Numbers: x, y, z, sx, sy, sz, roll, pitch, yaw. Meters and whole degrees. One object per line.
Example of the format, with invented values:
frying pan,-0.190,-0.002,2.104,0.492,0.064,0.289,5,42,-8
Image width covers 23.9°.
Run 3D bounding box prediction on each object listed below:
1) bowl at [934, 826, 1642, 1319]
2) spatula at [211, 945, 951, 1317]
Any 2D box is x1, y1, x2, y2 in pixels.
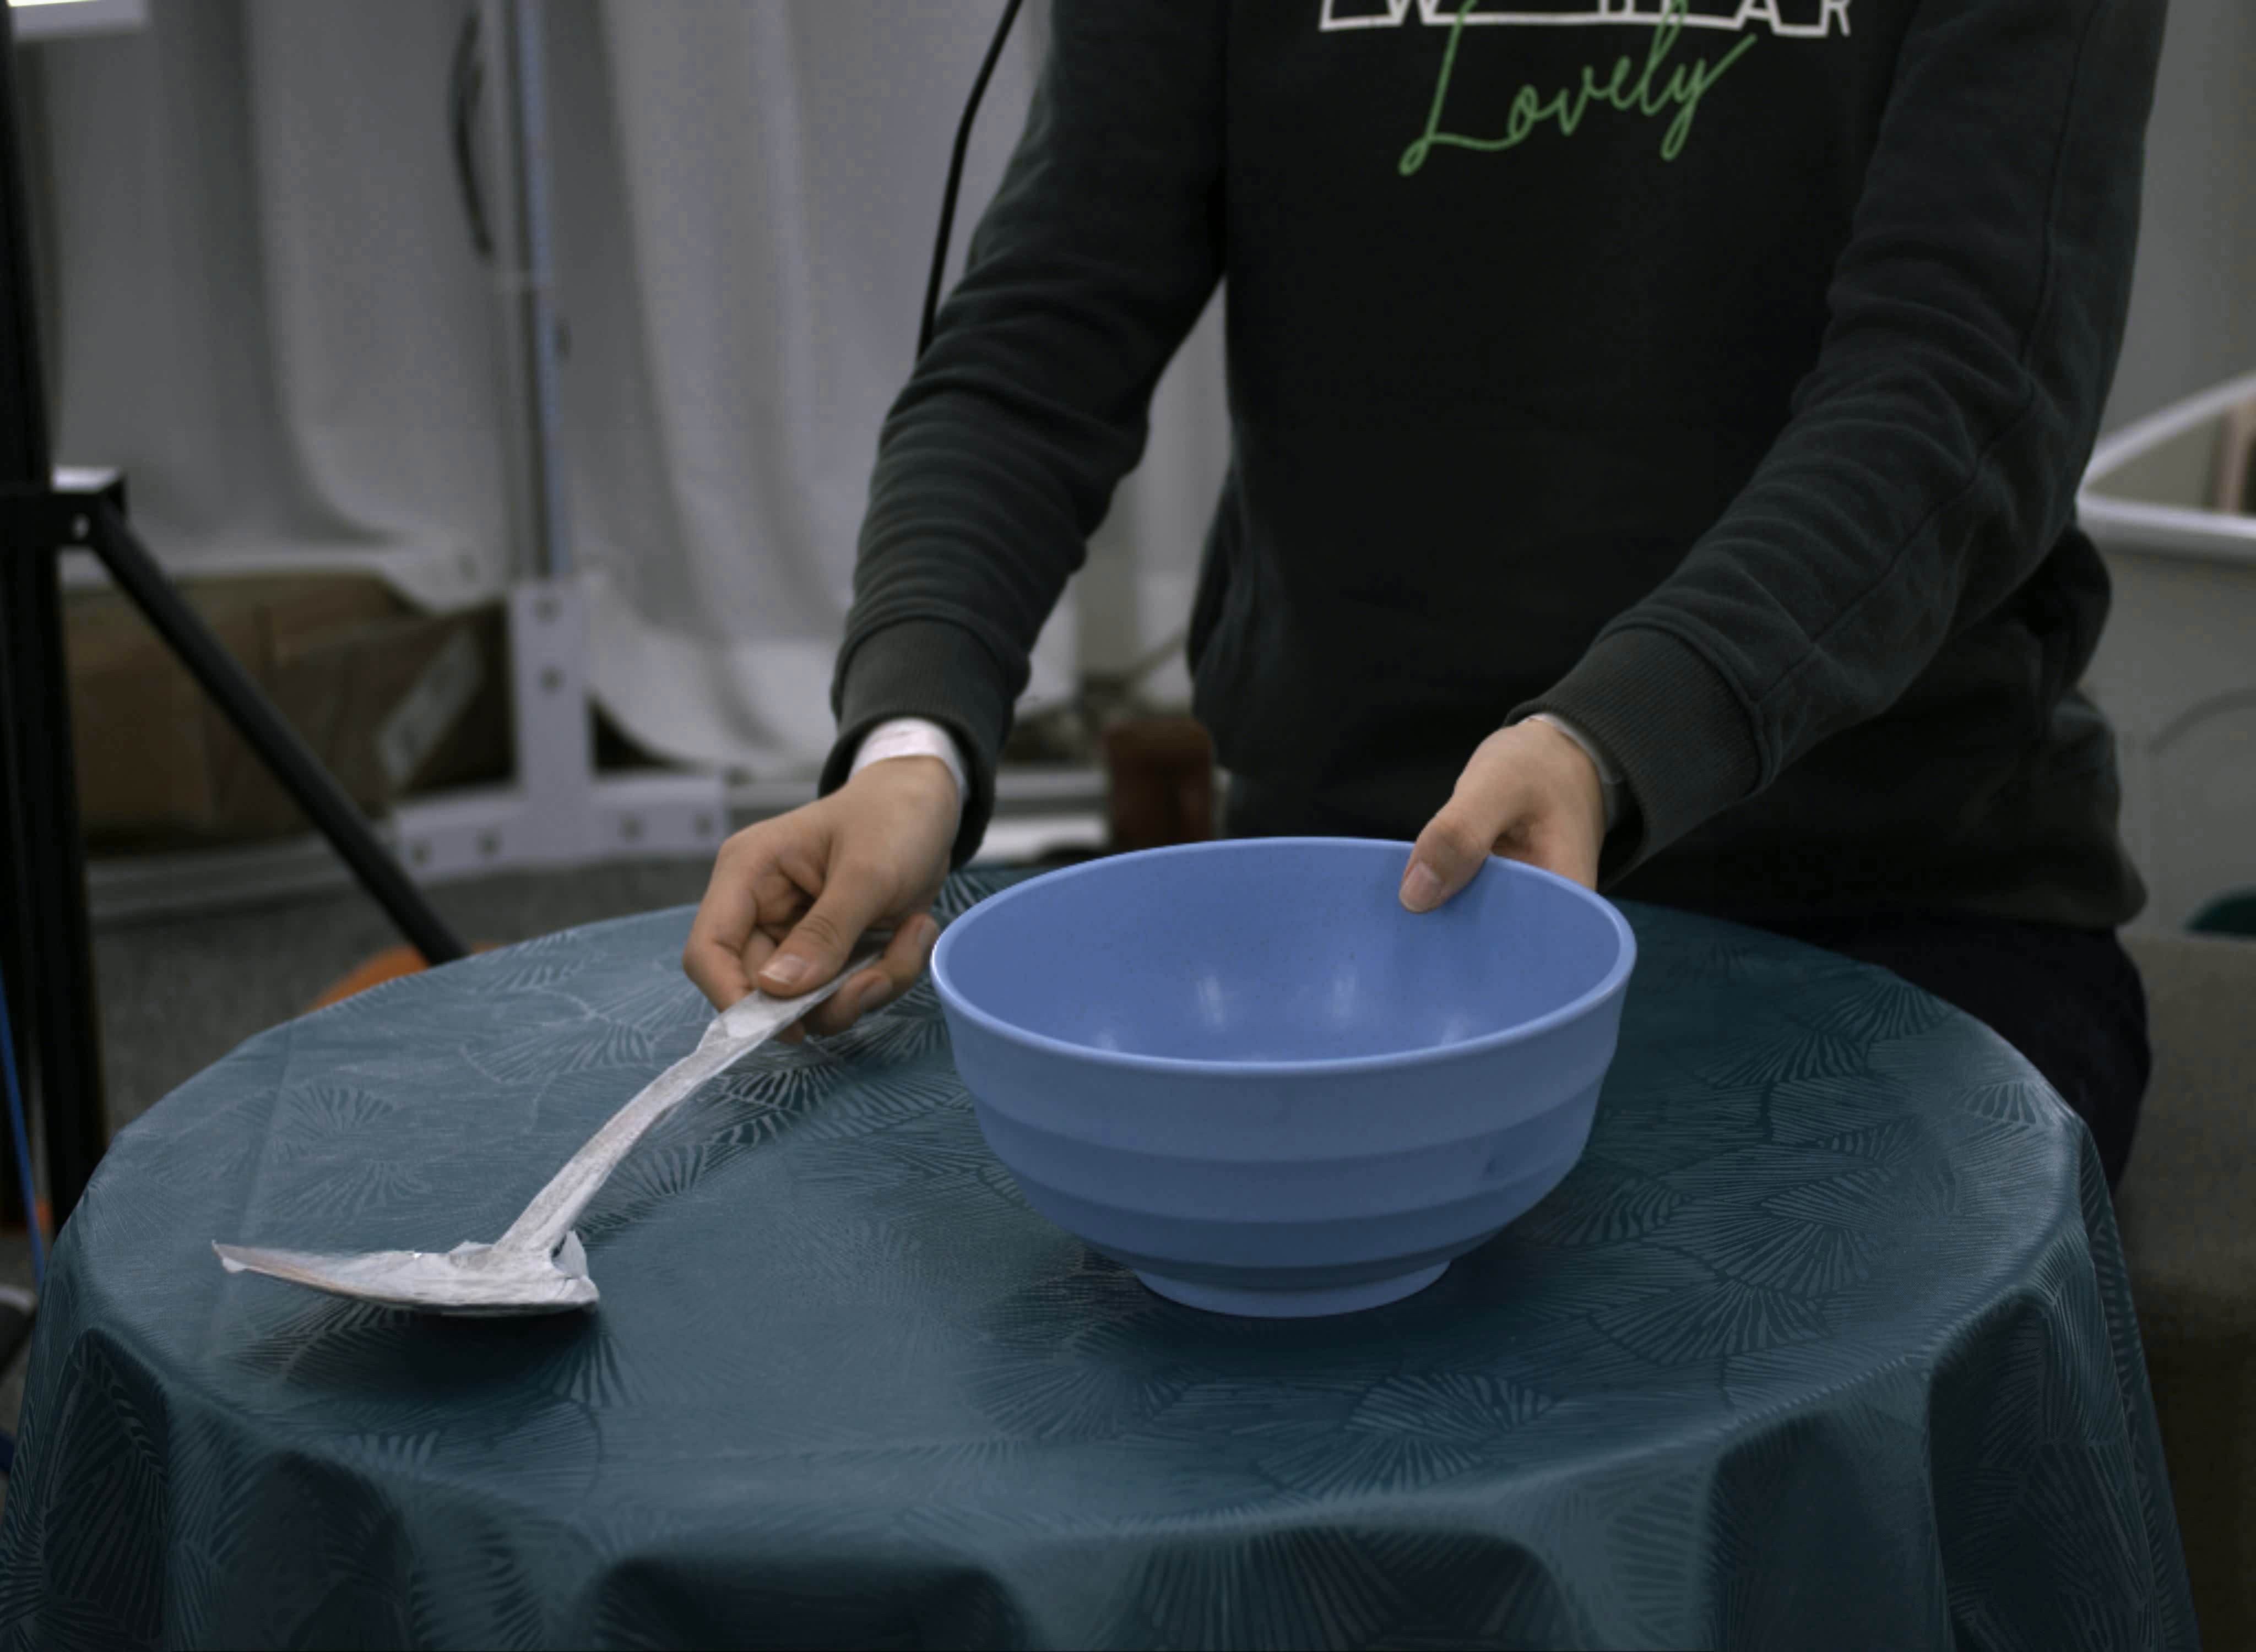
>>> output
bowl,0.046,0.076,1.481,0.195,0.095,0.198,-4,19,0
spatula,-0.138,0.081,1.580,0.100,0.044,0.360,5,22,24
